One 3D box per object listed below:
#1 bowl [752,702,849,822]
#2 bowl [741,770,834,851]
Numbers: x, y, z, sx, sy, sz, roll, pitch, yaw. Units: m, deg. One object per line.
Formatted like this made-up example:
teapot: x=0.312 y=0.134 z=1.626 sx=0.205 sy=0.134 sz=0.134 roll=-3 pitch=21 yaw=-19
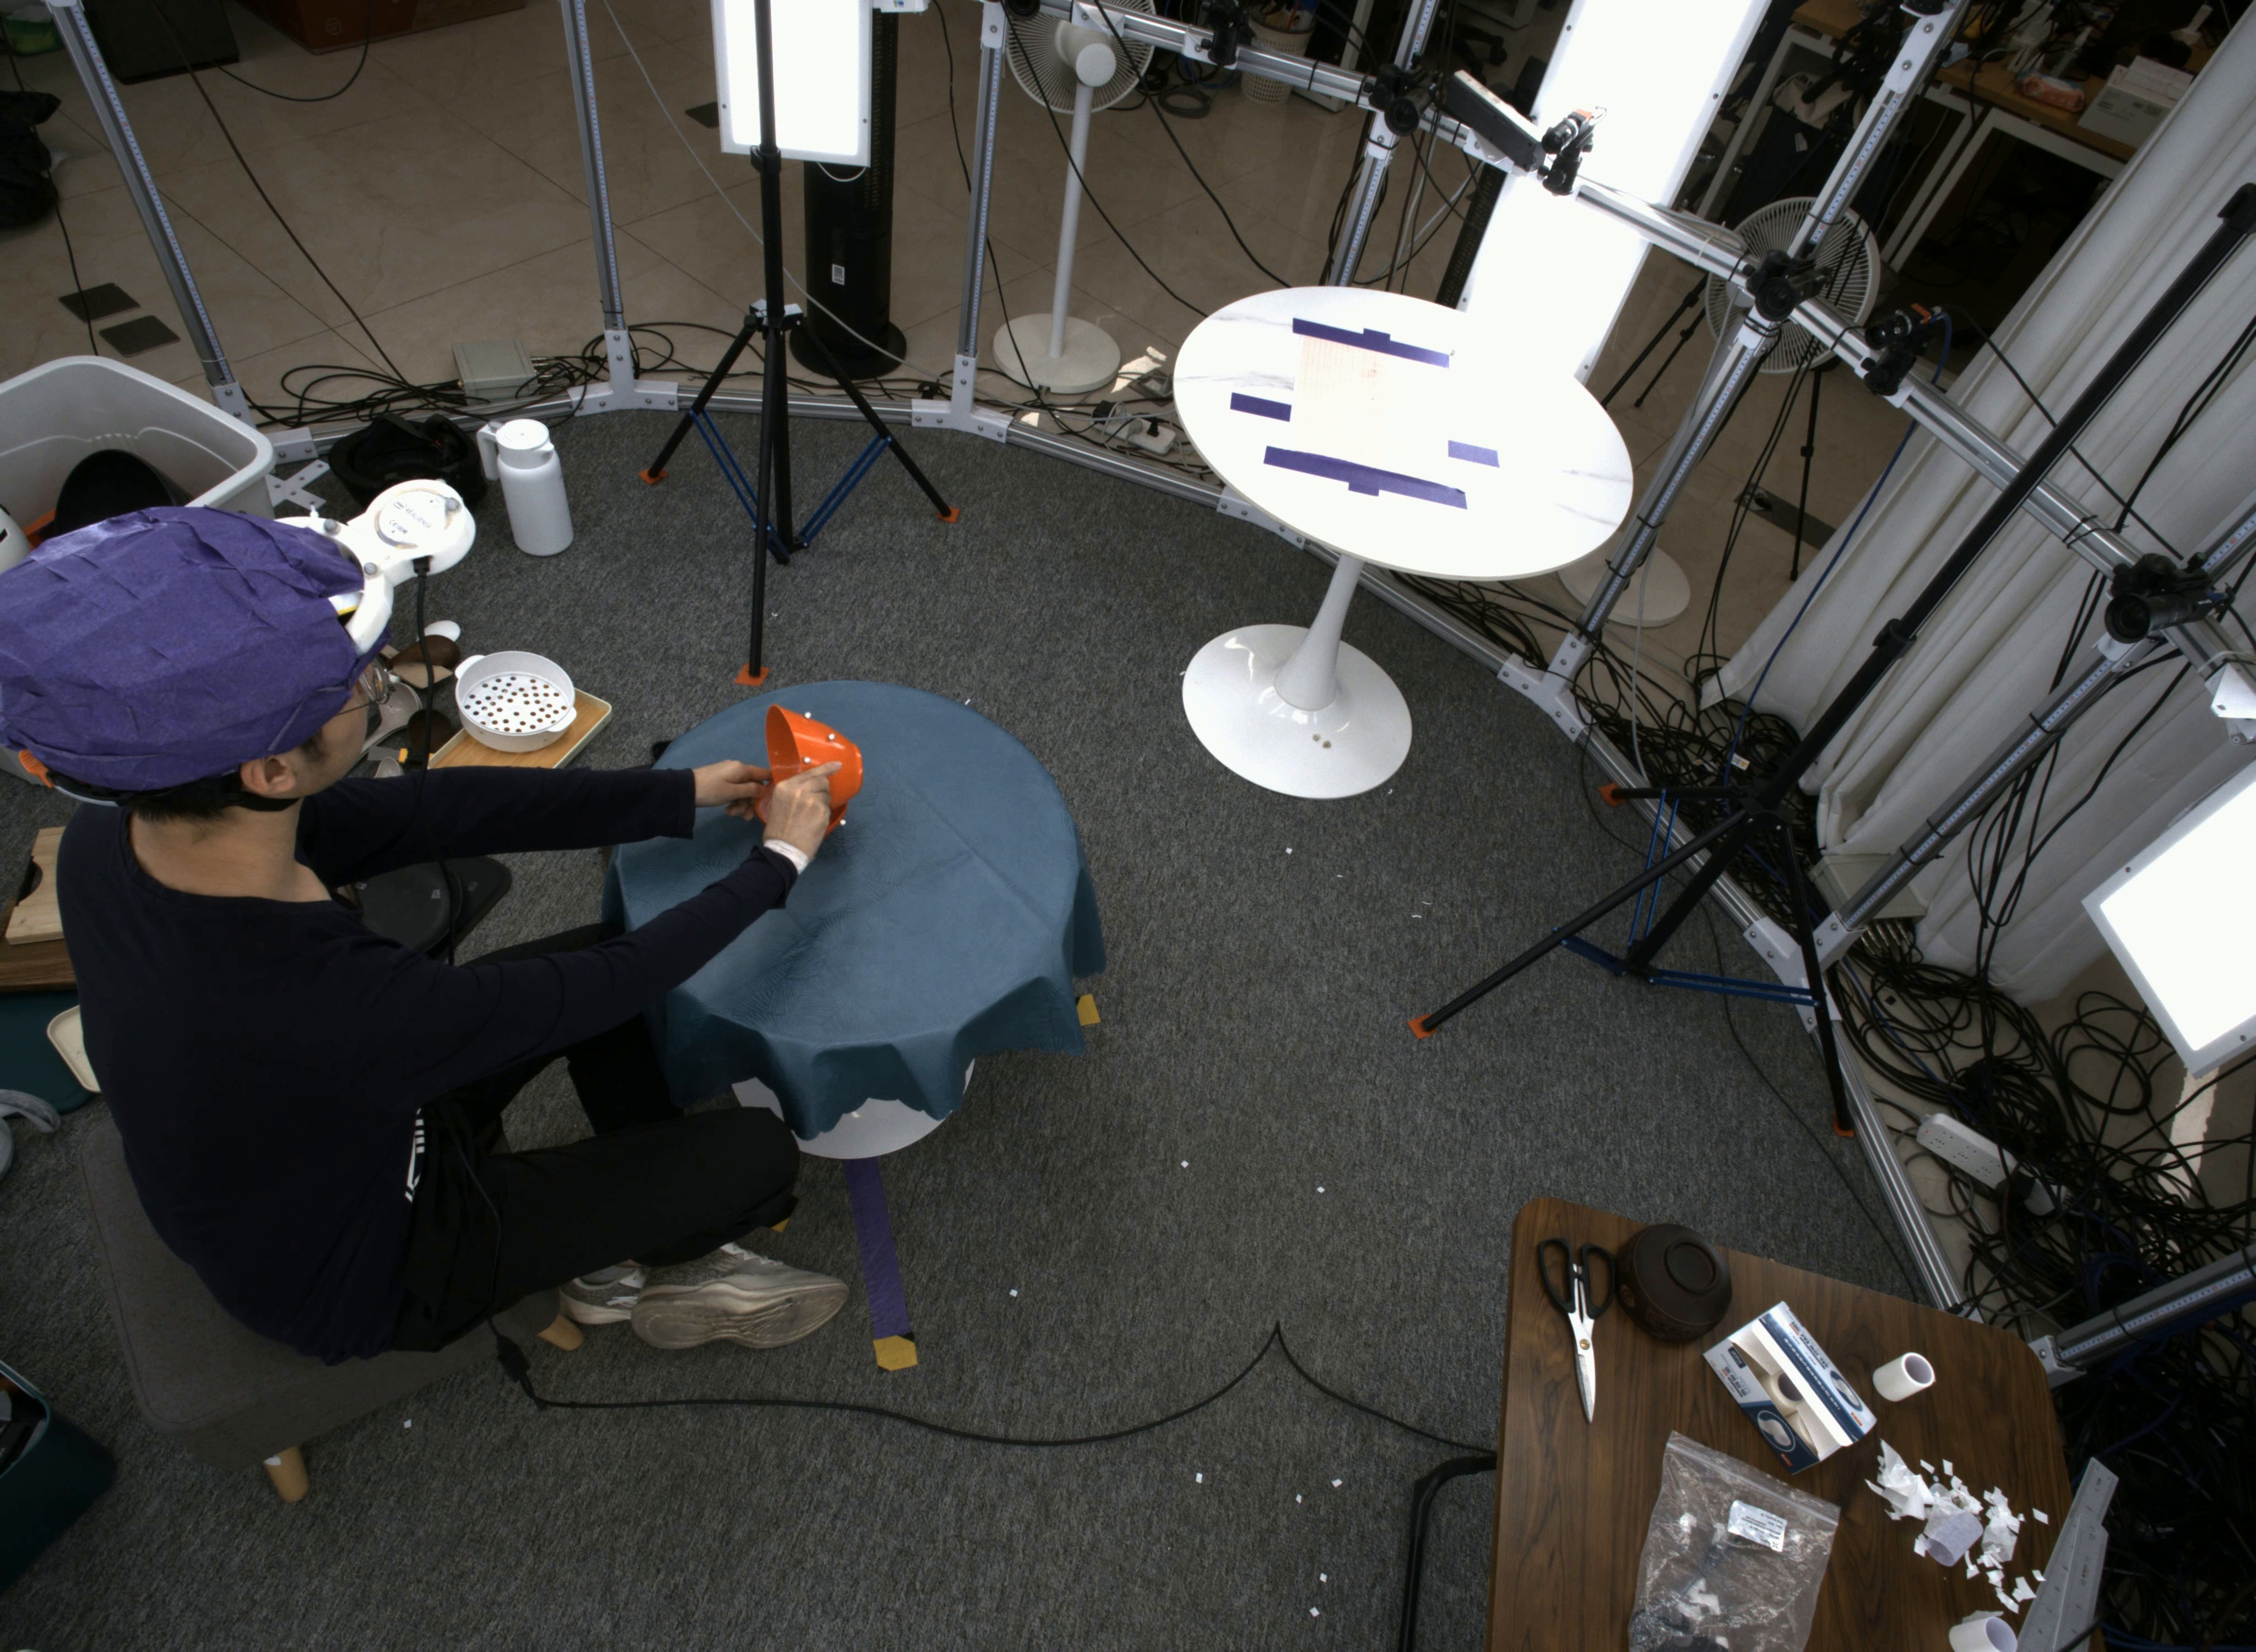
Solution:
bowl: x=-0.416 y=-0.083 z=1.651 sx=0.106 sy=0.150 sz=0.144 roll=-5 pitch=53 yaw=-30
bowl: x=-0.448 y=-0.015 z=1.705 sx=0.119 sy=0.052 sz=0.117 roll=9 pitch=52 yaw=-10
